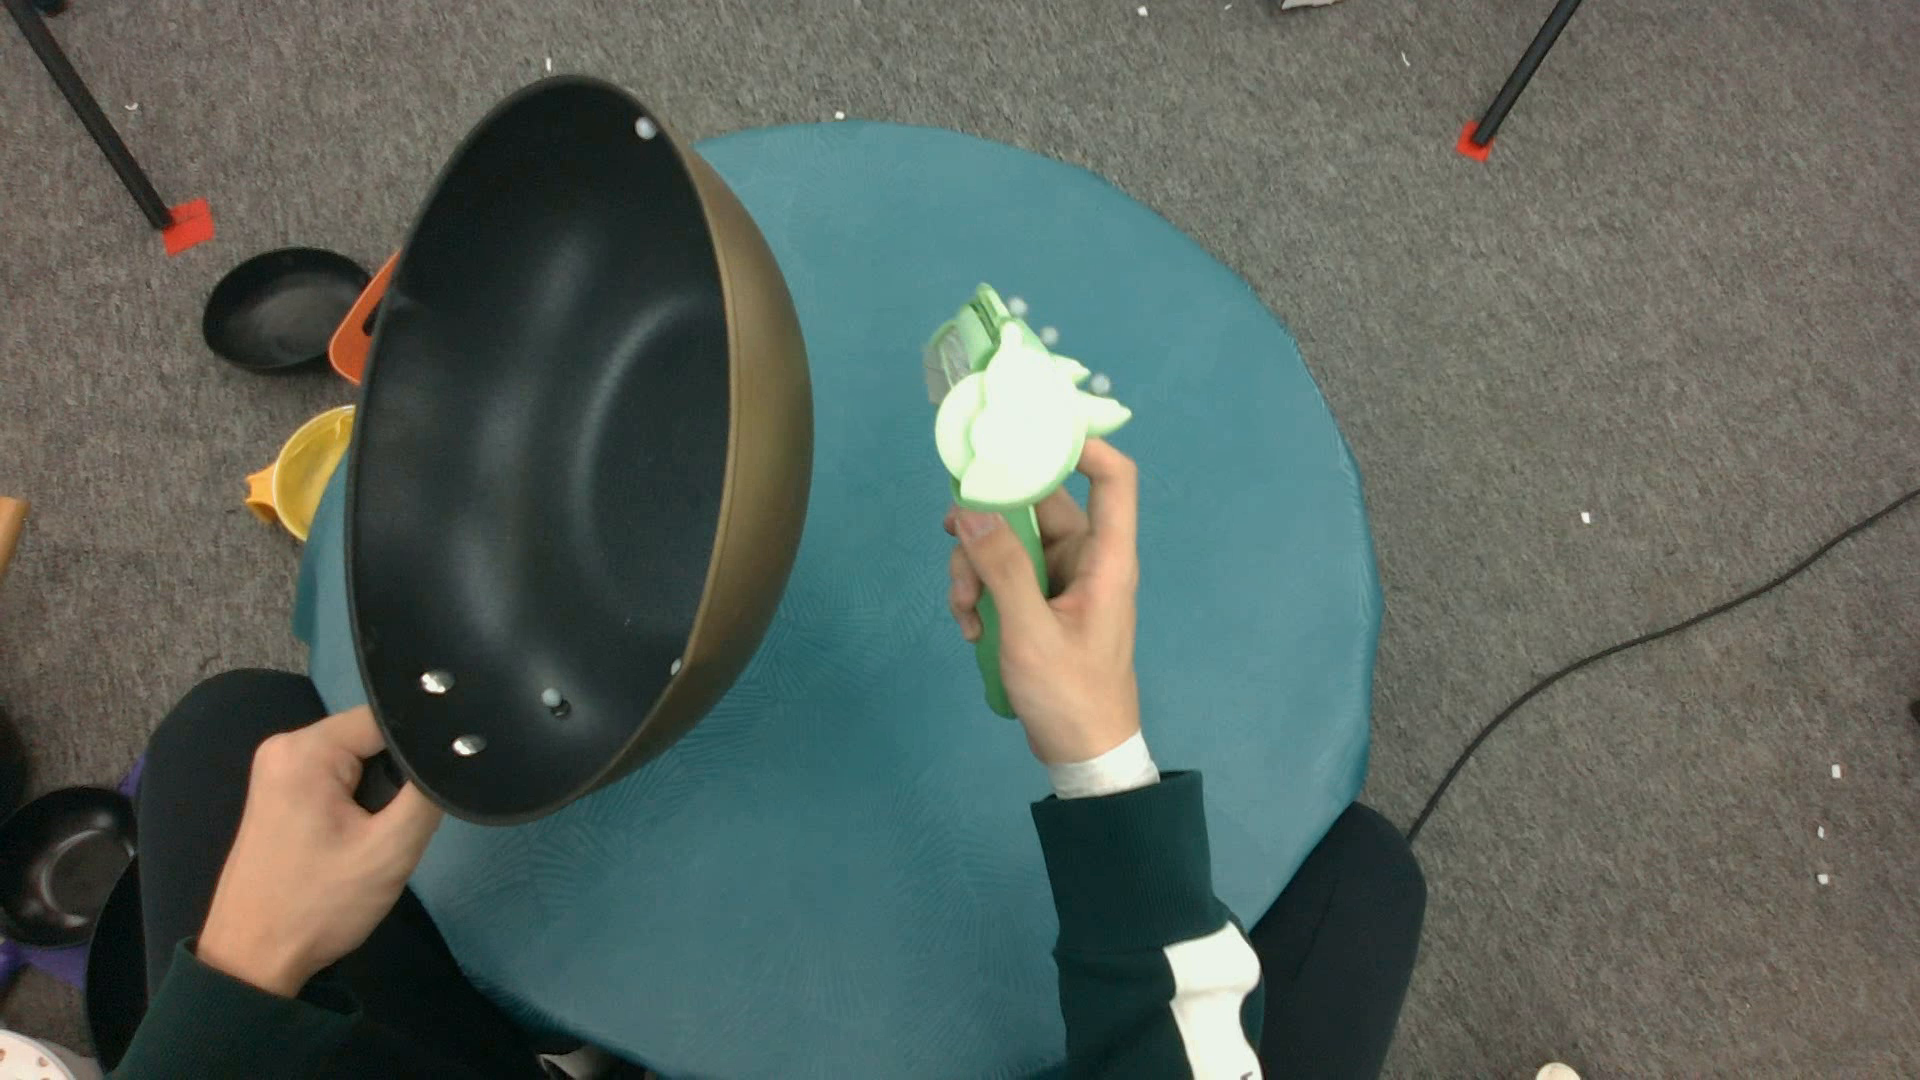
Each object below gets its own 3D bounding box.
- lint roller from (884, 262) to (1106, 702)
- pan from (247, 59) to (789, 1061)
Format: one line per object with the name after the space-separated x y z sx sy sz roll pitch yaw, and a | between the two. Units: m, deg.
0.023 -0.023 0.583 0.082 0.199 0.183 -18 106 -1 | lint roller
-0.192 0.041 0.568 0.087 0.462 0.288 7 27 -46 | pan
